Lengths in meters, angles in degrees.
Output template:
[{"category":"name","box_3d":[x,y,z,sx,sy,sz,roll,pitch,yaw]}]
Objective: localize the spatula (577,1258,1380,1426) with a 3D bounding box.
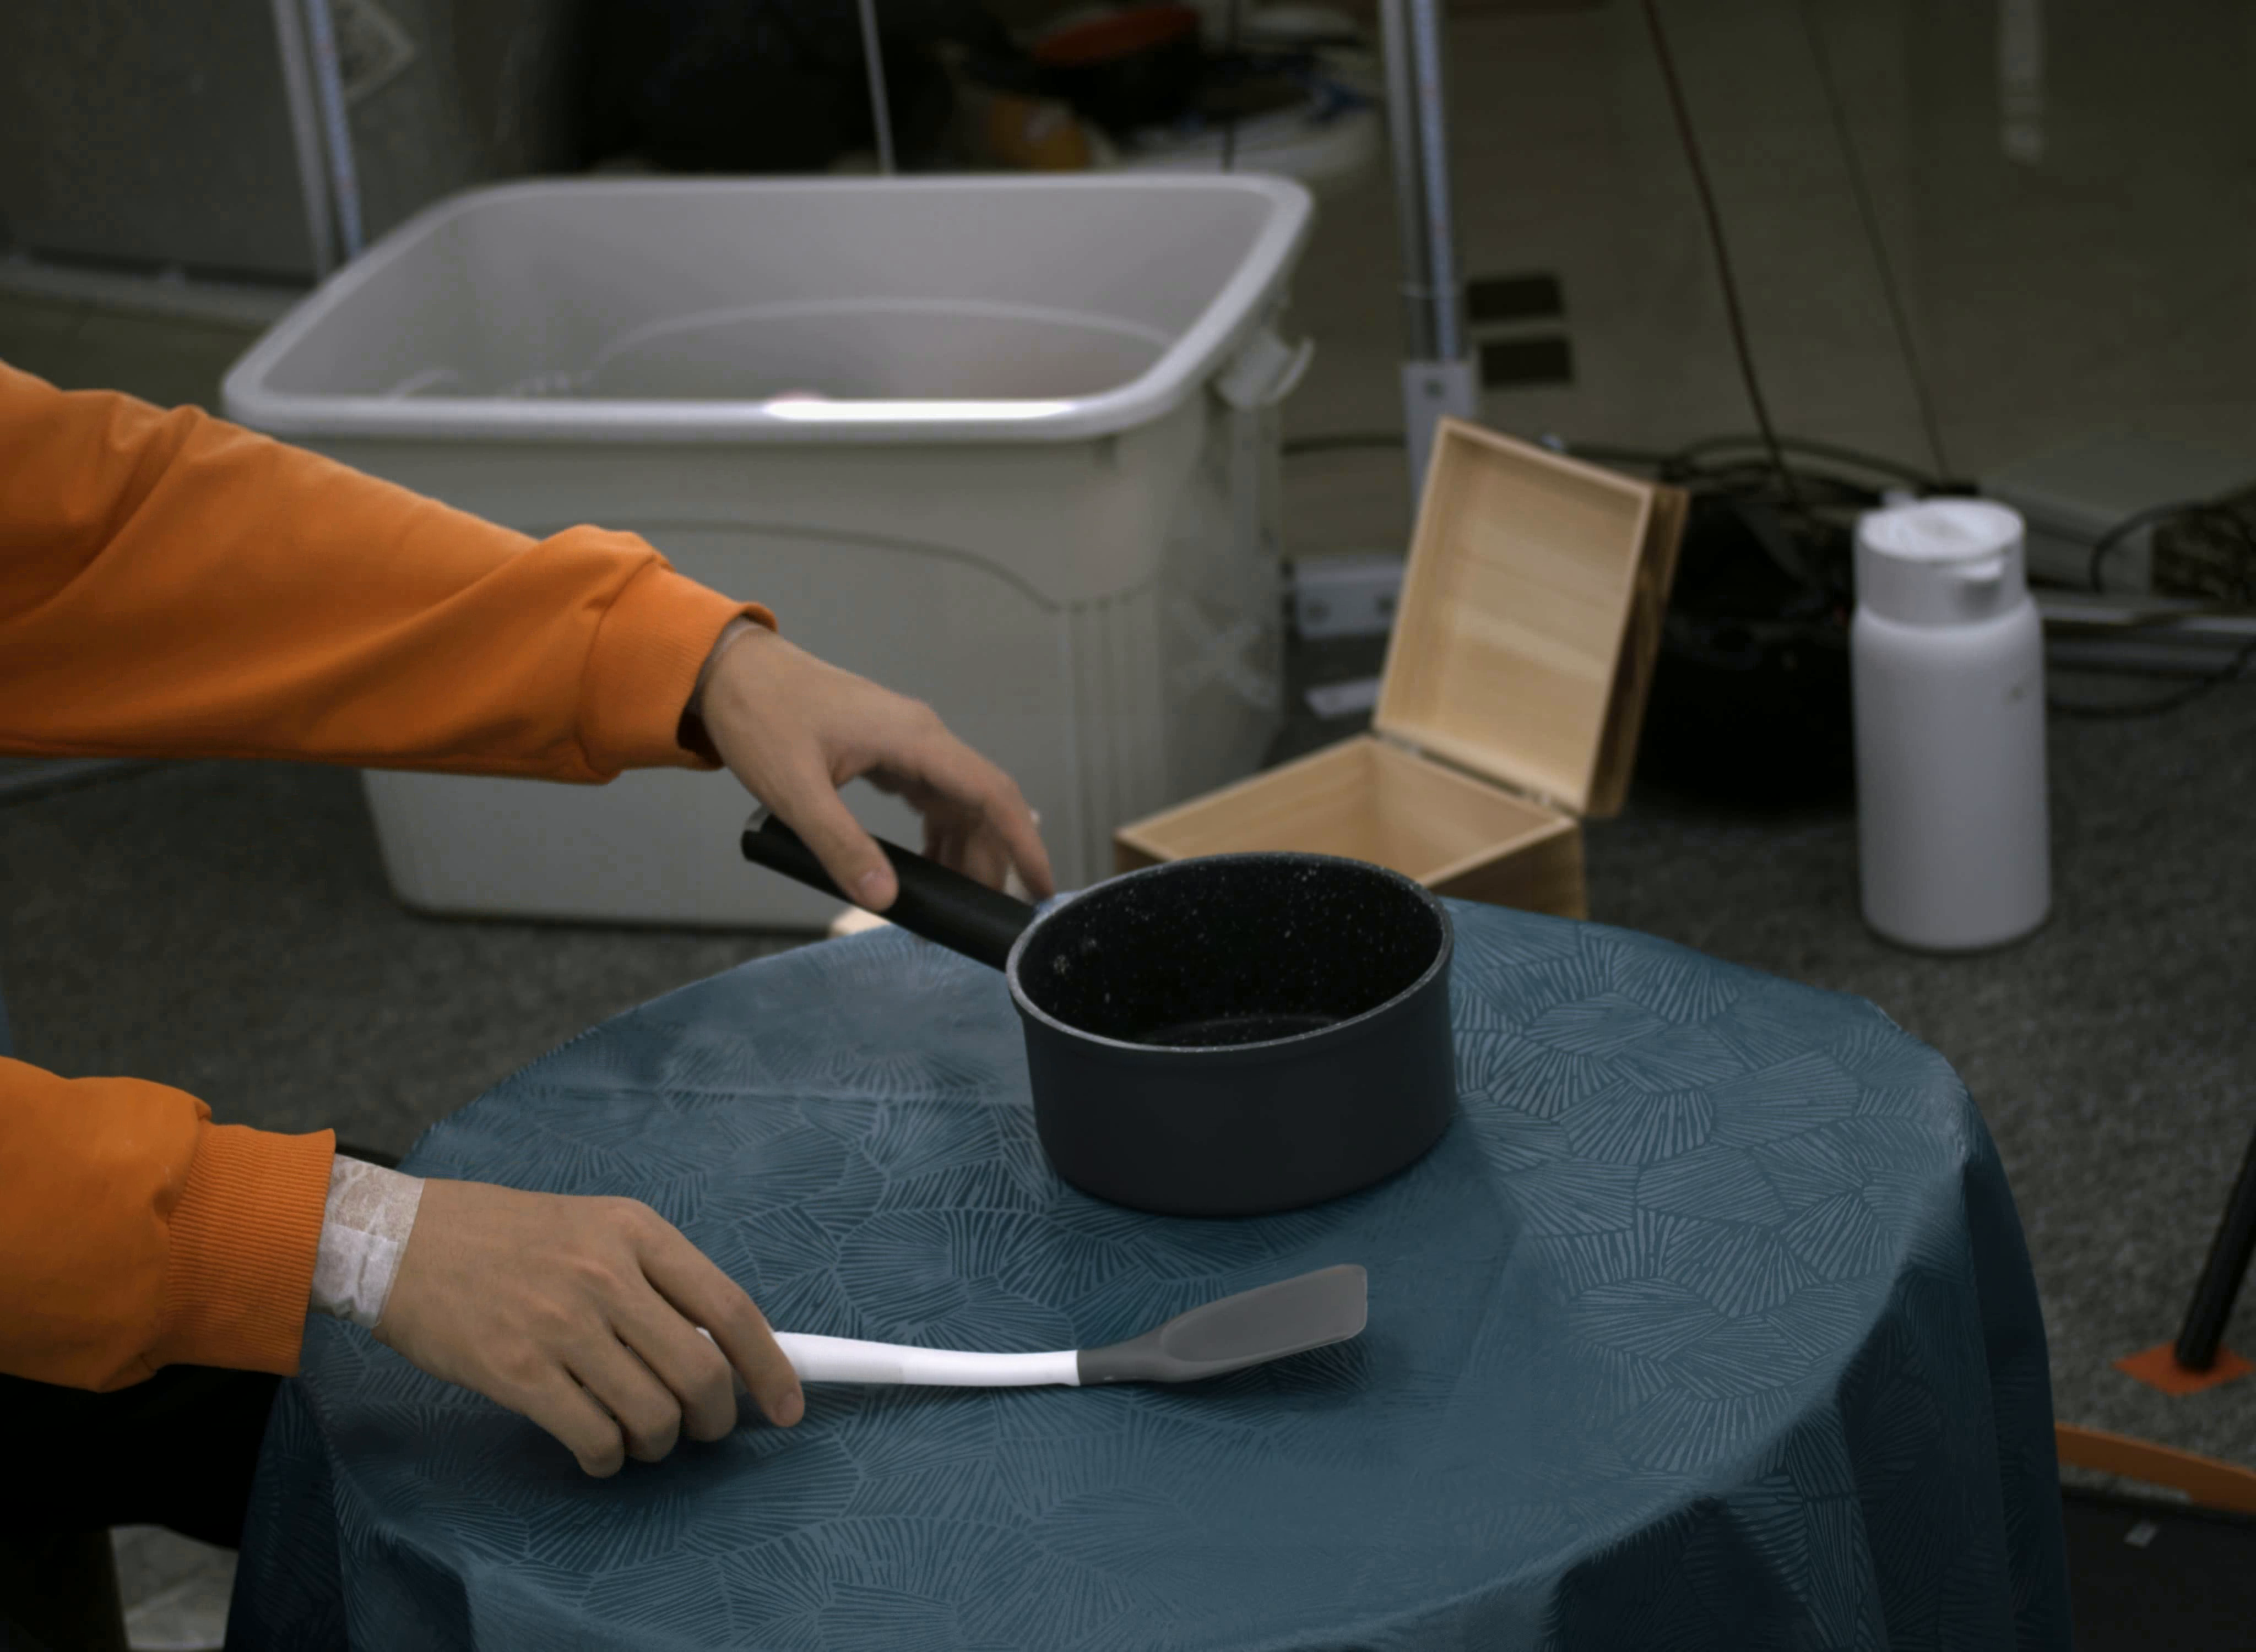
[{"category":"spatula","box_3d":[-0.052,0.186,2.021,0.287,0.033,0.058,-5,23,5]}]

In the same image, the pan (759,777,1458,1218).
[{"category":"pan","box_3d":[-0.018,0.059,2.219,0.326,0.088,0.170,17,34,38]}]
